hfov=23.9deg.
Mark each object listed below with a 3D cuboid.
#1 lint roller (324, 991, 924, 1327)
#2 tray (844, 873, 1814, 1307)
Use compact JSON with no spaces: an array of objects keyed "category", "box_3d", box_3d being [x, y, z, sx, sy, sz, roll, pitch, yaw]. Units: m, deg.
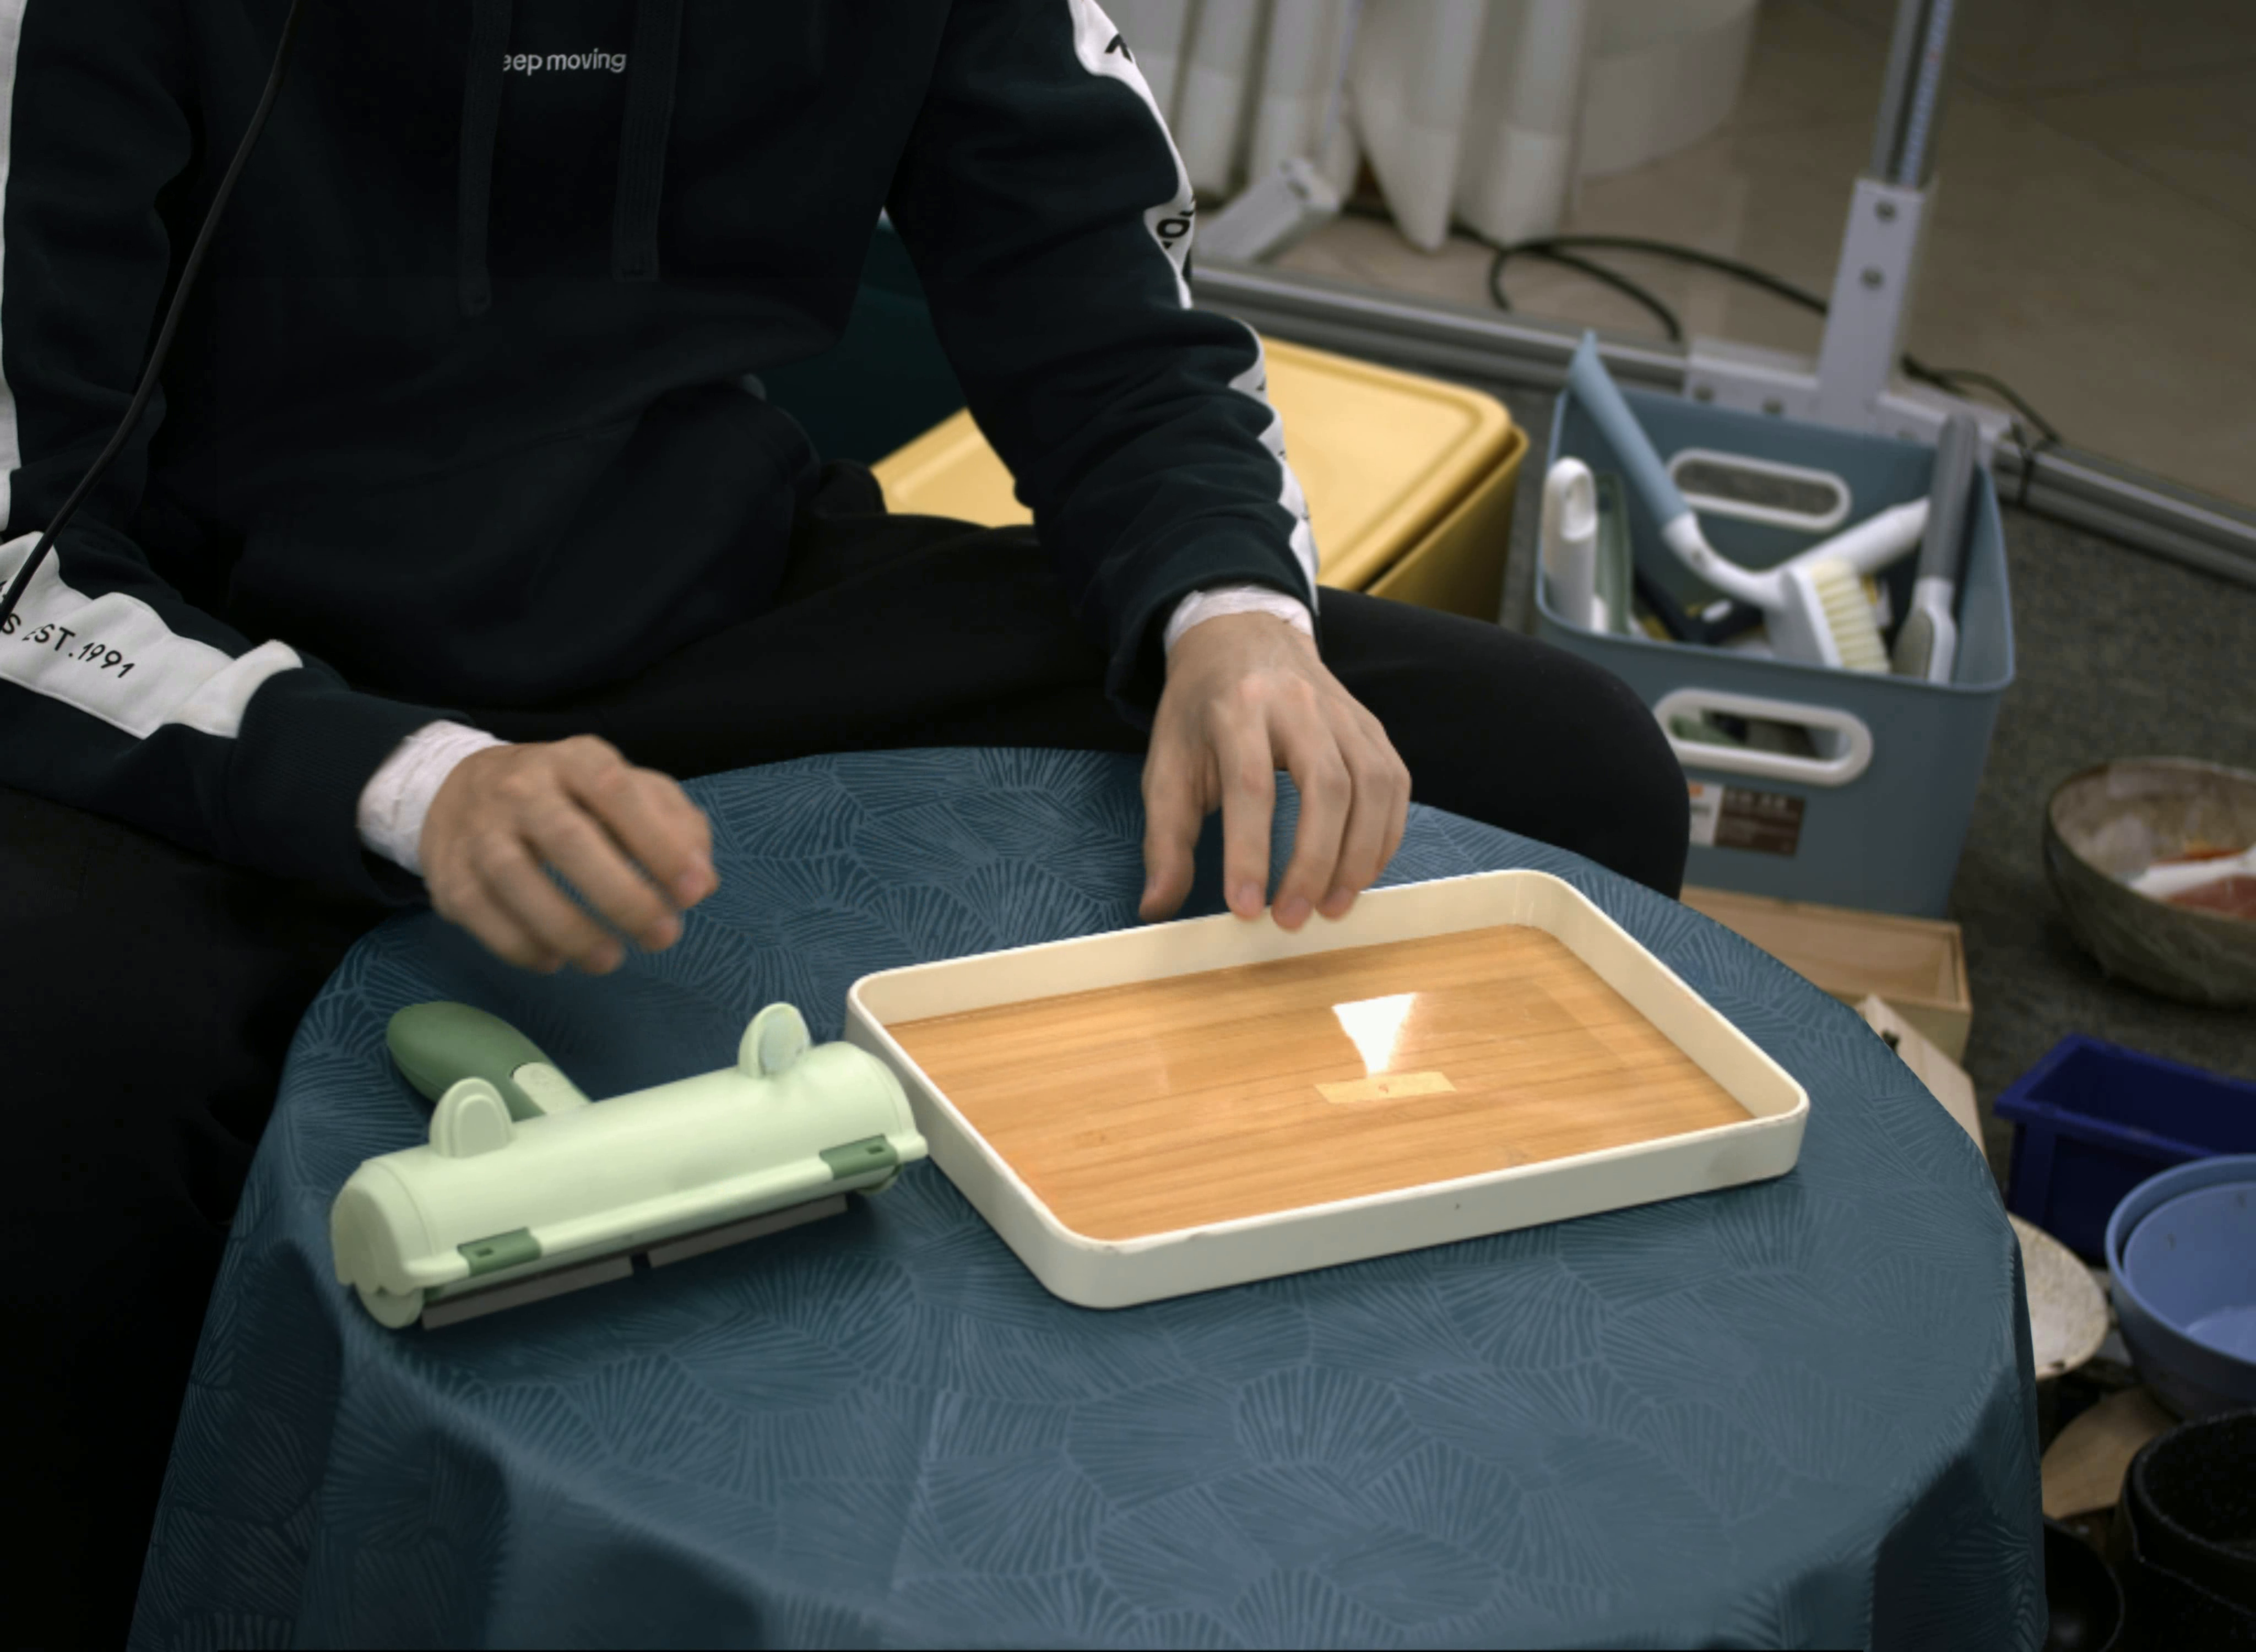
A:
[{"category":"lint roller","box_3d":[-0.193,0.082,1.753,0.197,0.082,0.185,-13,37,-33]},{"category":"tray","box_3d":[0.069,0.088,1.856,0.298,0.027,0.193,-8,30,-27]}]
